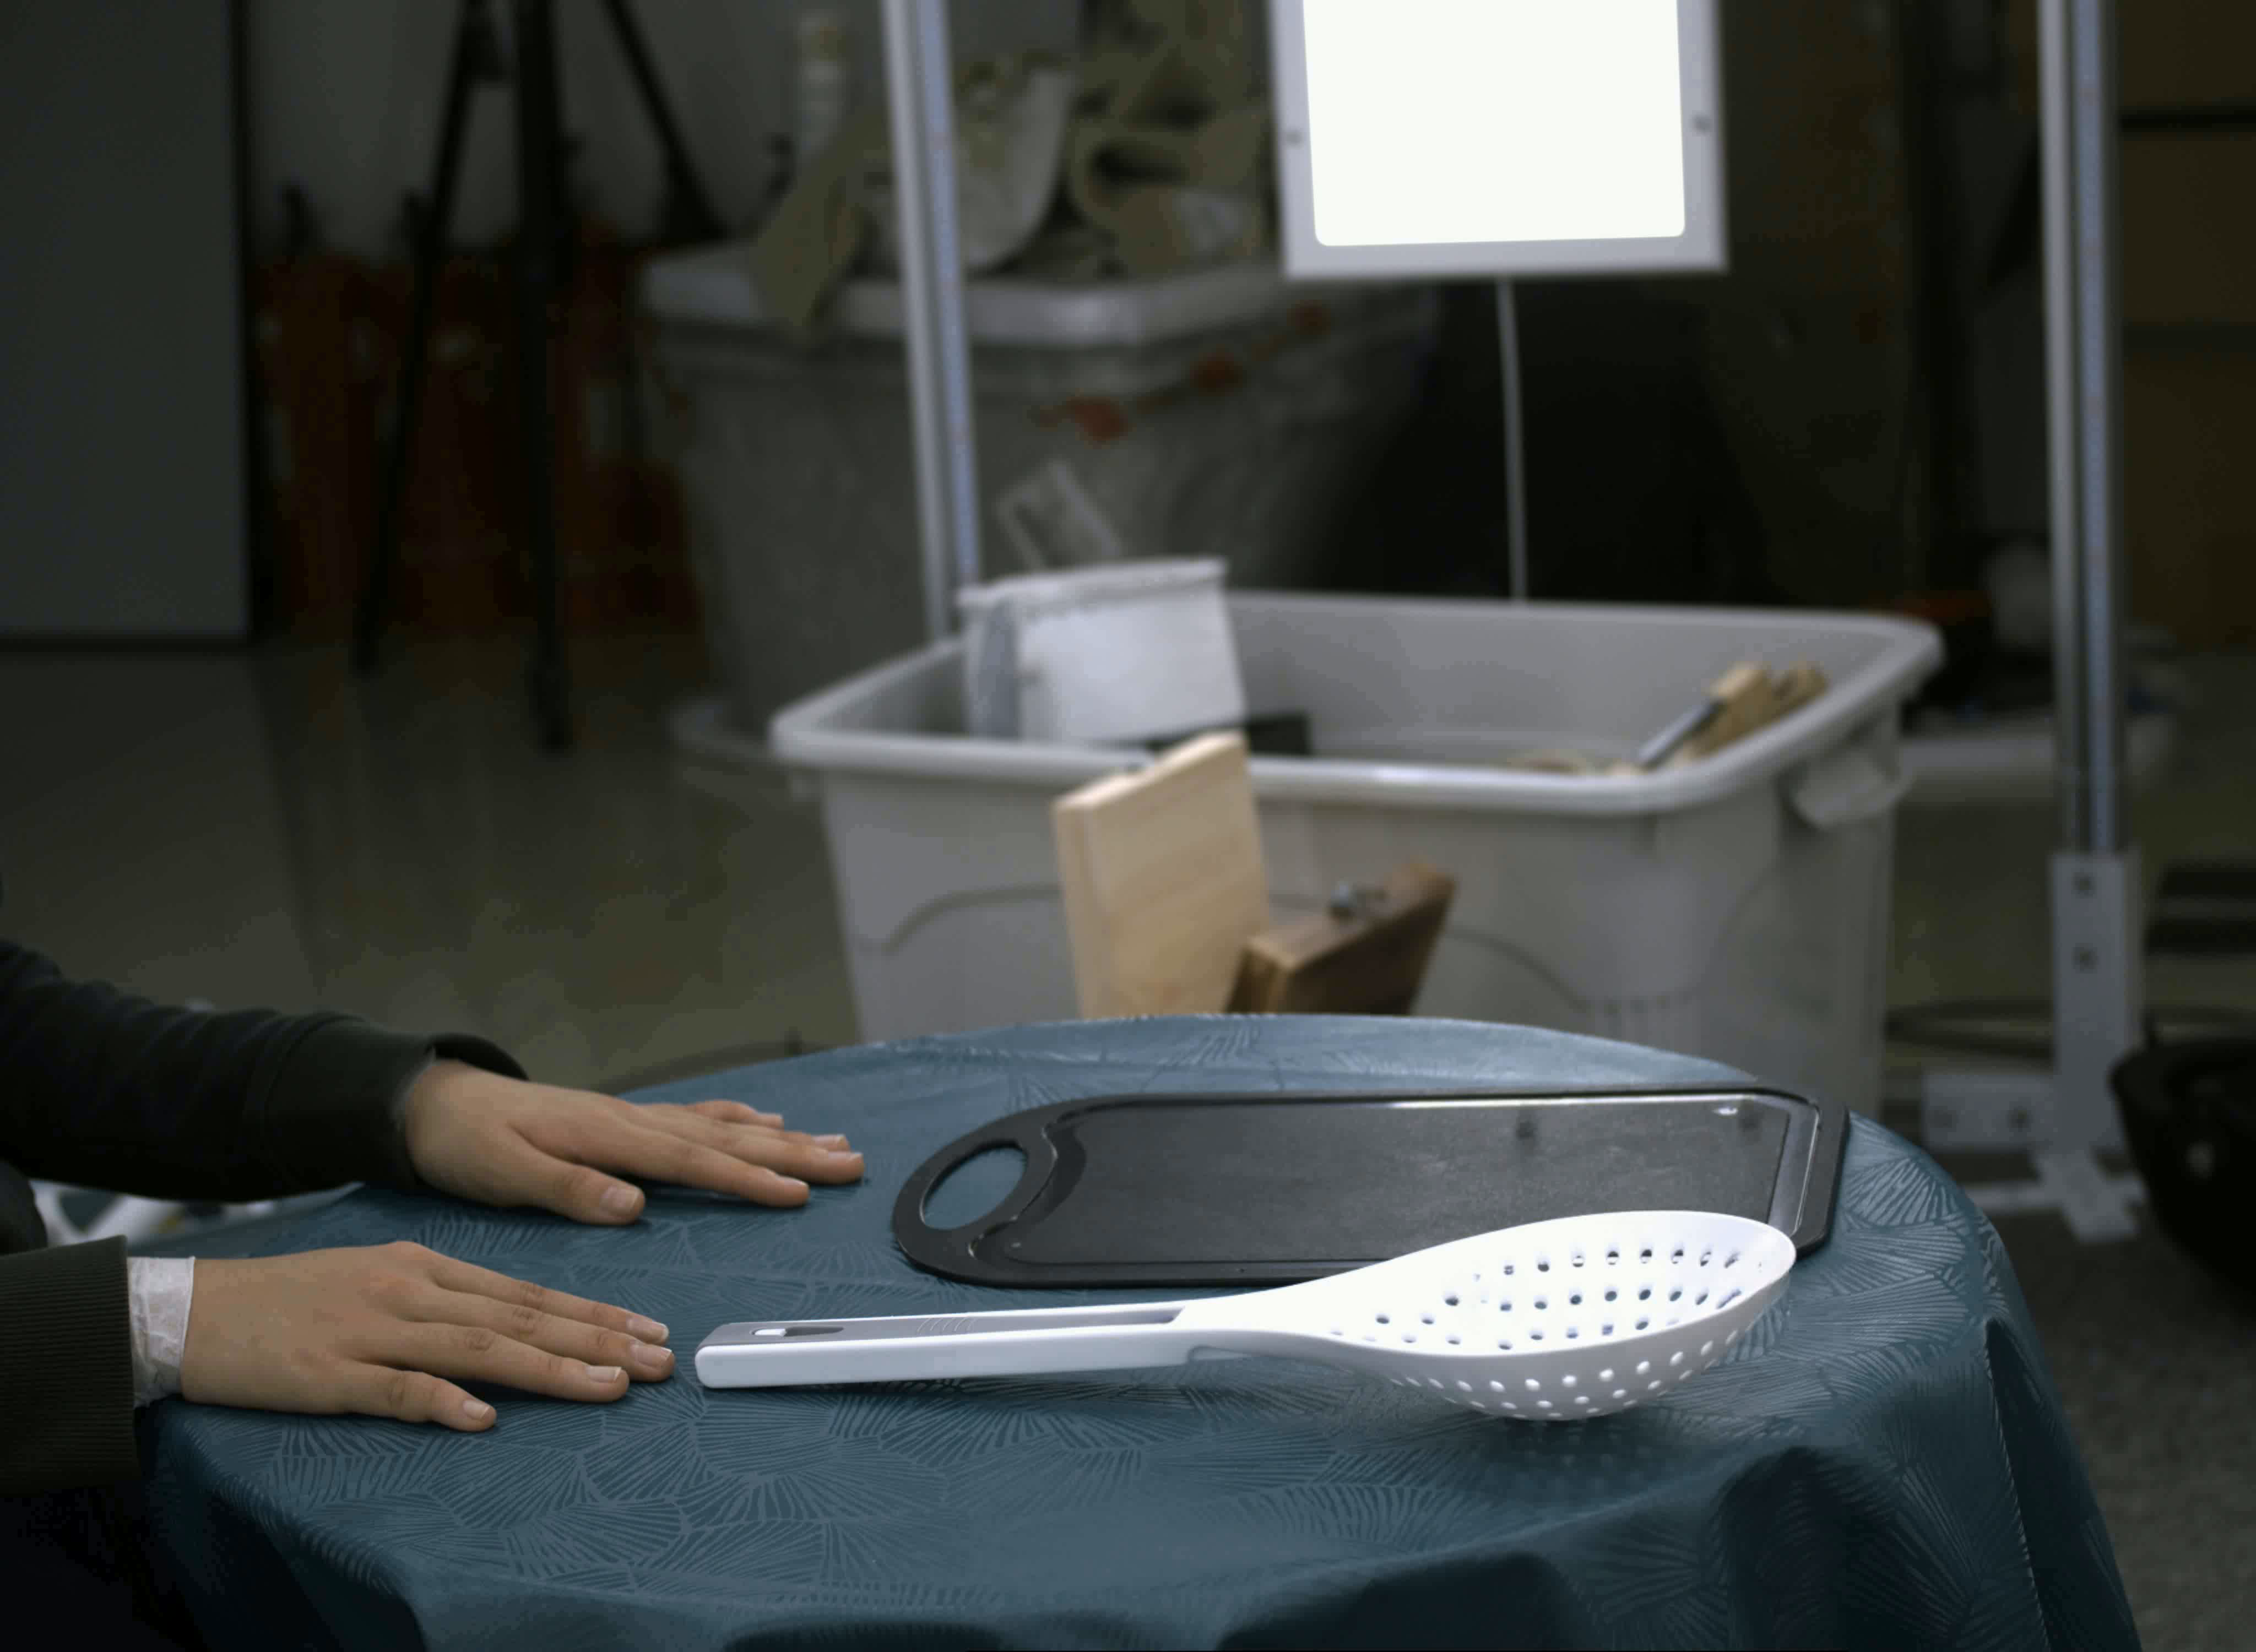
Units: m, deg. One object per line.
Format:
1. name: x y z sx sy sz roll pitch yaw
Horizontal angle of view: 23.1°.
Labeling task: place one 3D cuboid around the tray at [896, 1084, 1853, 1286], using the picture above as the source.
1. tray: 0.082 0.120 1.880 0.328 0.010 0.208 -2 14 13

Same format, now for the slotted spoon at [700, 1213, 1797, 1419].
1. slotted spoon: 0.033 0.153 1.683 0.354 0.046 0.134 -1 12 20
